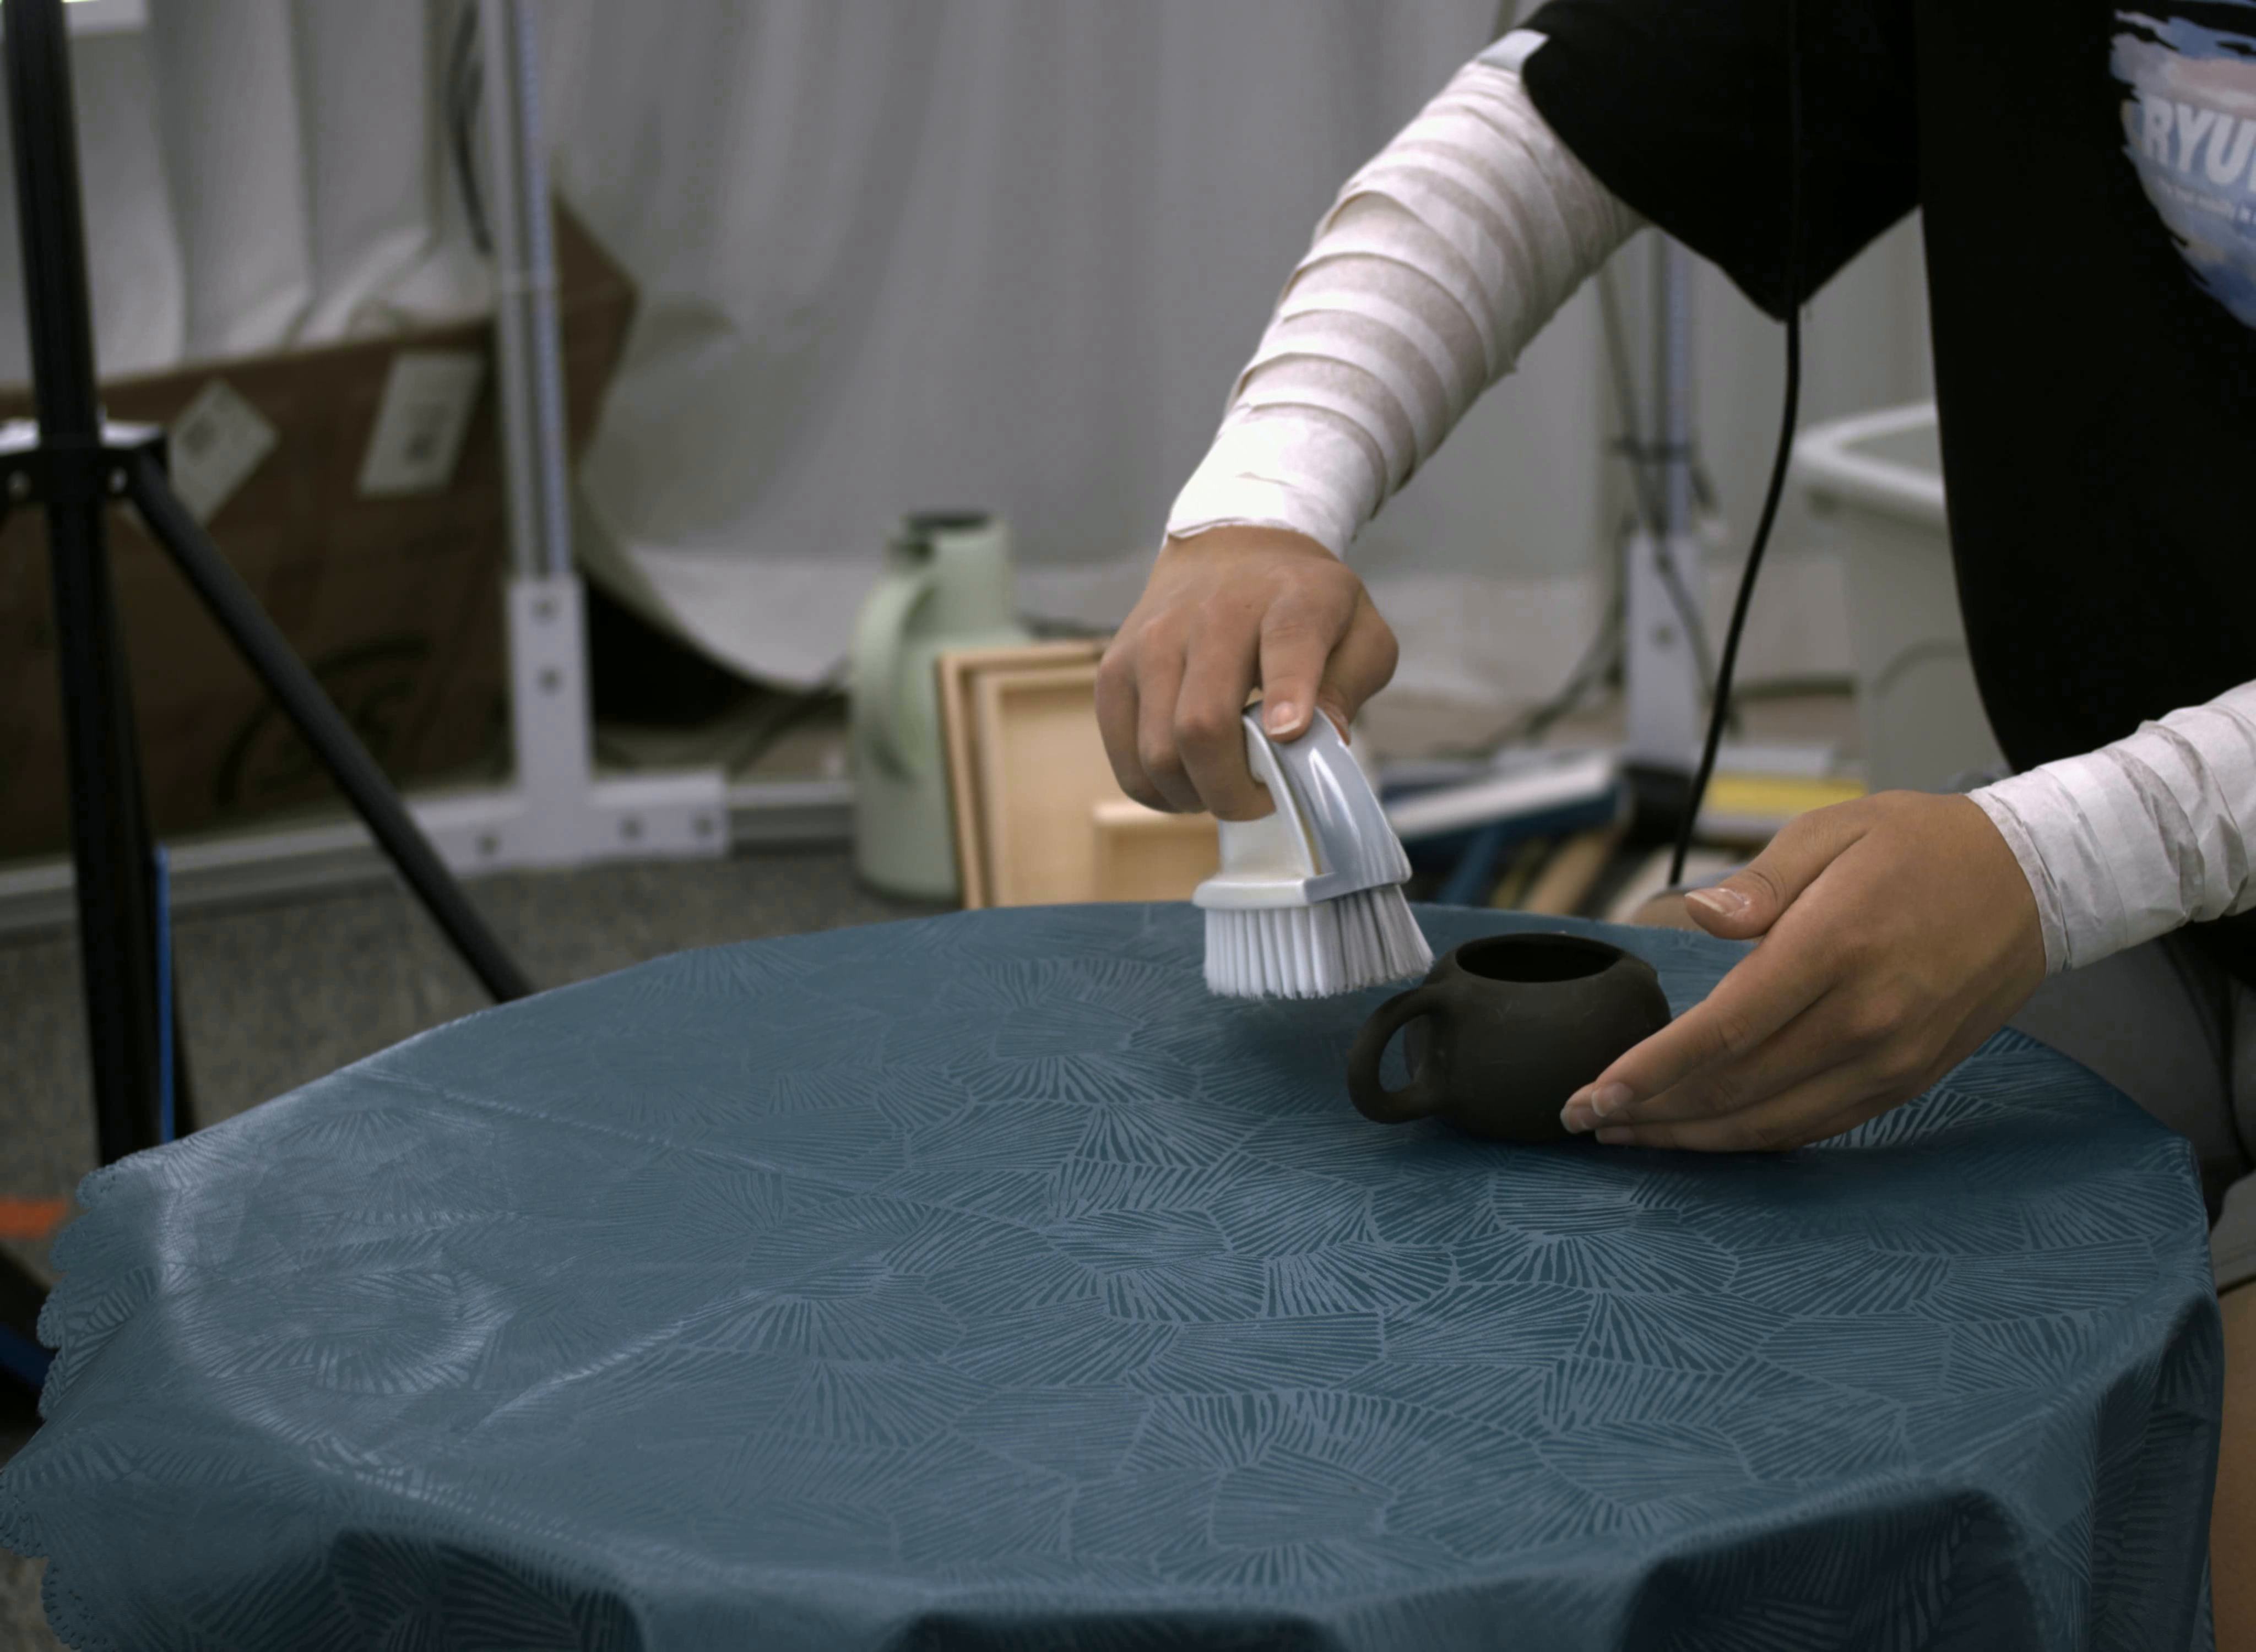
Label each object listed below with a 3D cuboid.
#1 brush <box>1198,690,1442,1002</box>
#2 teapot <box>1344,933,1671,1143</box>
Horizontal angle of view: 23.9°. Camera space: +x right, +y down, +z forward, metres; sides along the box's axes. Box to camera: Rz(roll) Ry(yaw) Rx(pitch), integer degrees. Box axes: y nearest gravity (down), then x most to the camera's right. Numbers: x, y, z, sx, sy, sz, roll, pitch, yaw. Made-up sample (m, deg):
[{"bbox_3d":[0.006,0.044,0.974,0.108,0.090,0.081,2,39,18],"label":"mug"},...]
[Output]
[{"bbox_3d":[0.057,0.004,1.642,0.061,0.094,0.176,-18,4,-8],"label":"brush"},{"bbox_3d":[0.113,0.065,1.600,0.111,0.053,0.085,-9,16,-29],"label":"teapot"}]
